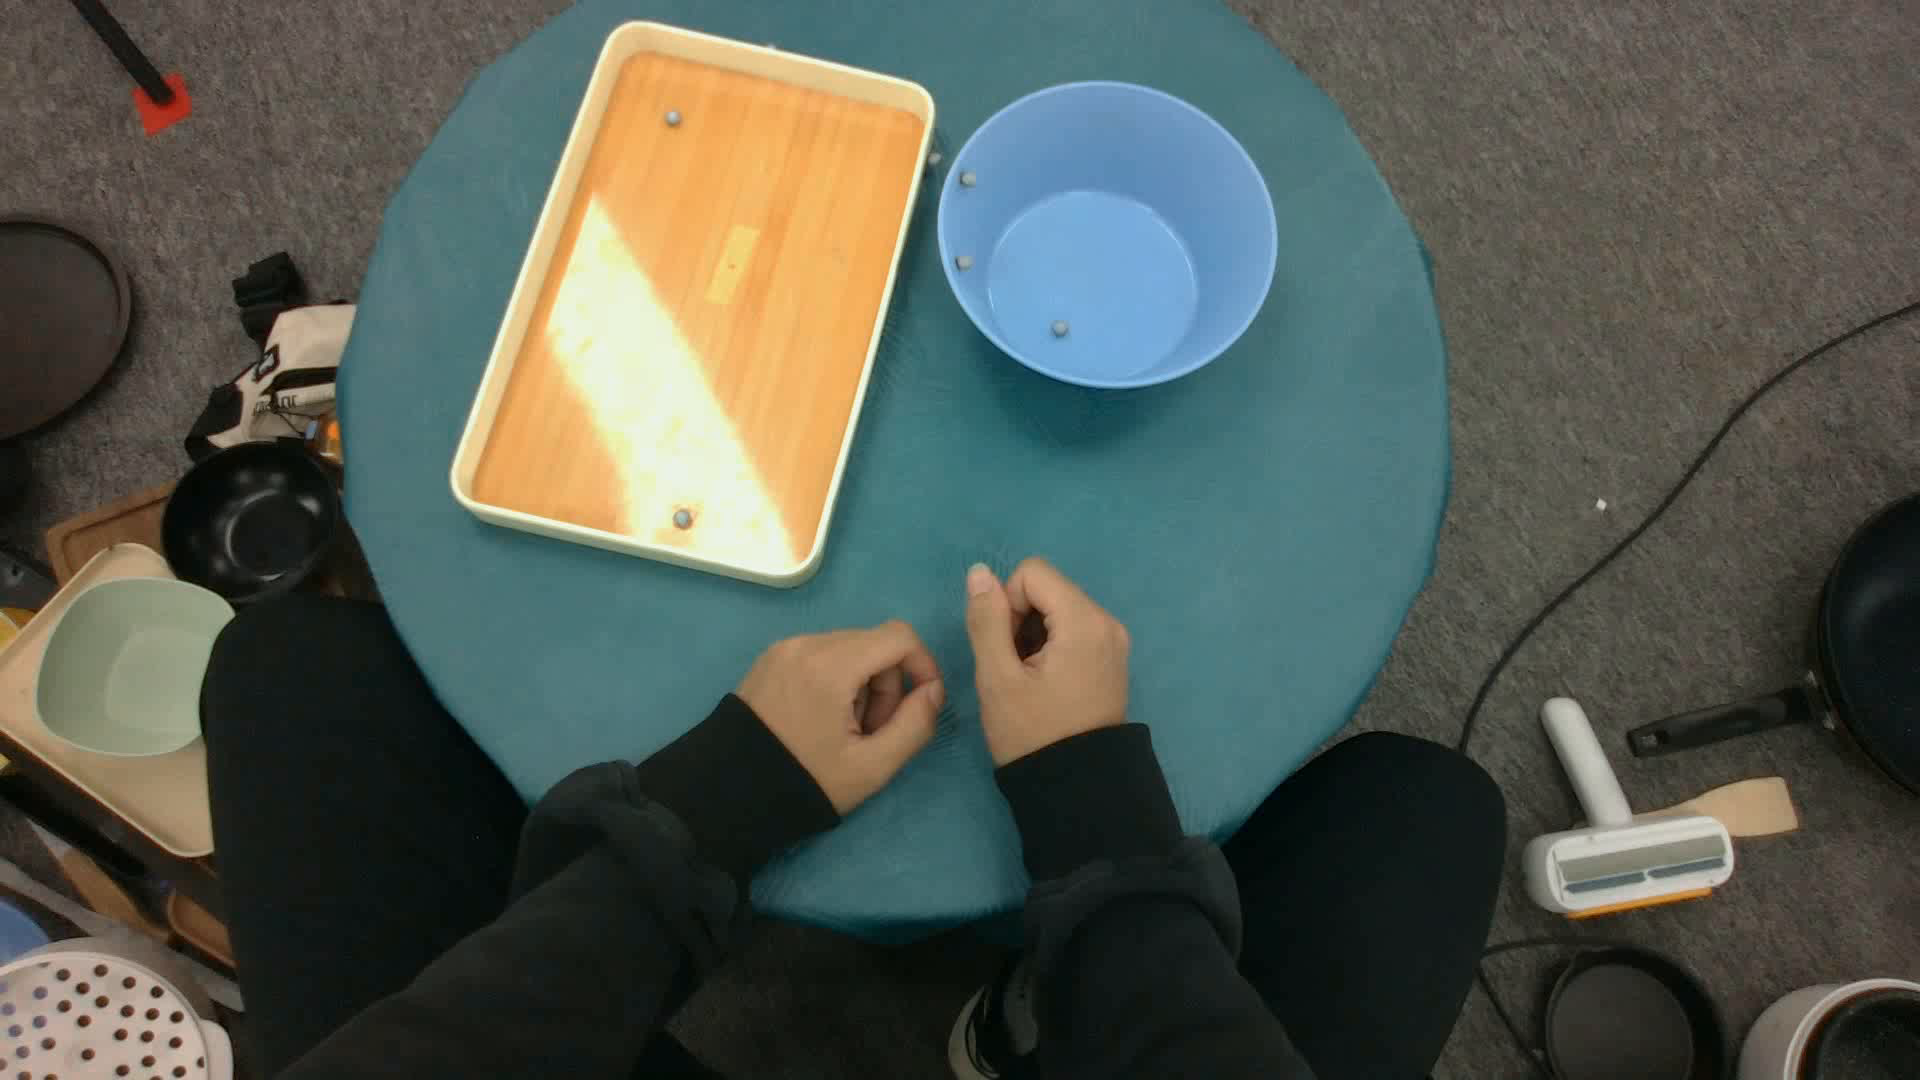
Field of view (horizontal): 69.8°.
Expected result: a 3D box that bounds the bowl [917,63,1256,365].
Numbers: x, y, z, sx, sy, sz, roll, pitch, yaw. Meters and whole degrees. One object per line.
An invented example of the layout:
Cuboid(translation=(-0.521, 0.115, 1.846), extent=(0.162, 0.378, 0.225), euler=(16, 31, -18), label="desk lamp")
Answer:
Cuboid(translation=(0.064, -0.162, 0.738), extent=(0.176, 0.070, 0.176), euler=(1, 72, -3), label="bowl")

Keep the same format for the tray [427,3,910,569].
Cuboid(translation=(-0.148, -0.143, 0.740), extent=(0.191, 0.027, 0.301), euler=(13, 72, 0), label="tray")
